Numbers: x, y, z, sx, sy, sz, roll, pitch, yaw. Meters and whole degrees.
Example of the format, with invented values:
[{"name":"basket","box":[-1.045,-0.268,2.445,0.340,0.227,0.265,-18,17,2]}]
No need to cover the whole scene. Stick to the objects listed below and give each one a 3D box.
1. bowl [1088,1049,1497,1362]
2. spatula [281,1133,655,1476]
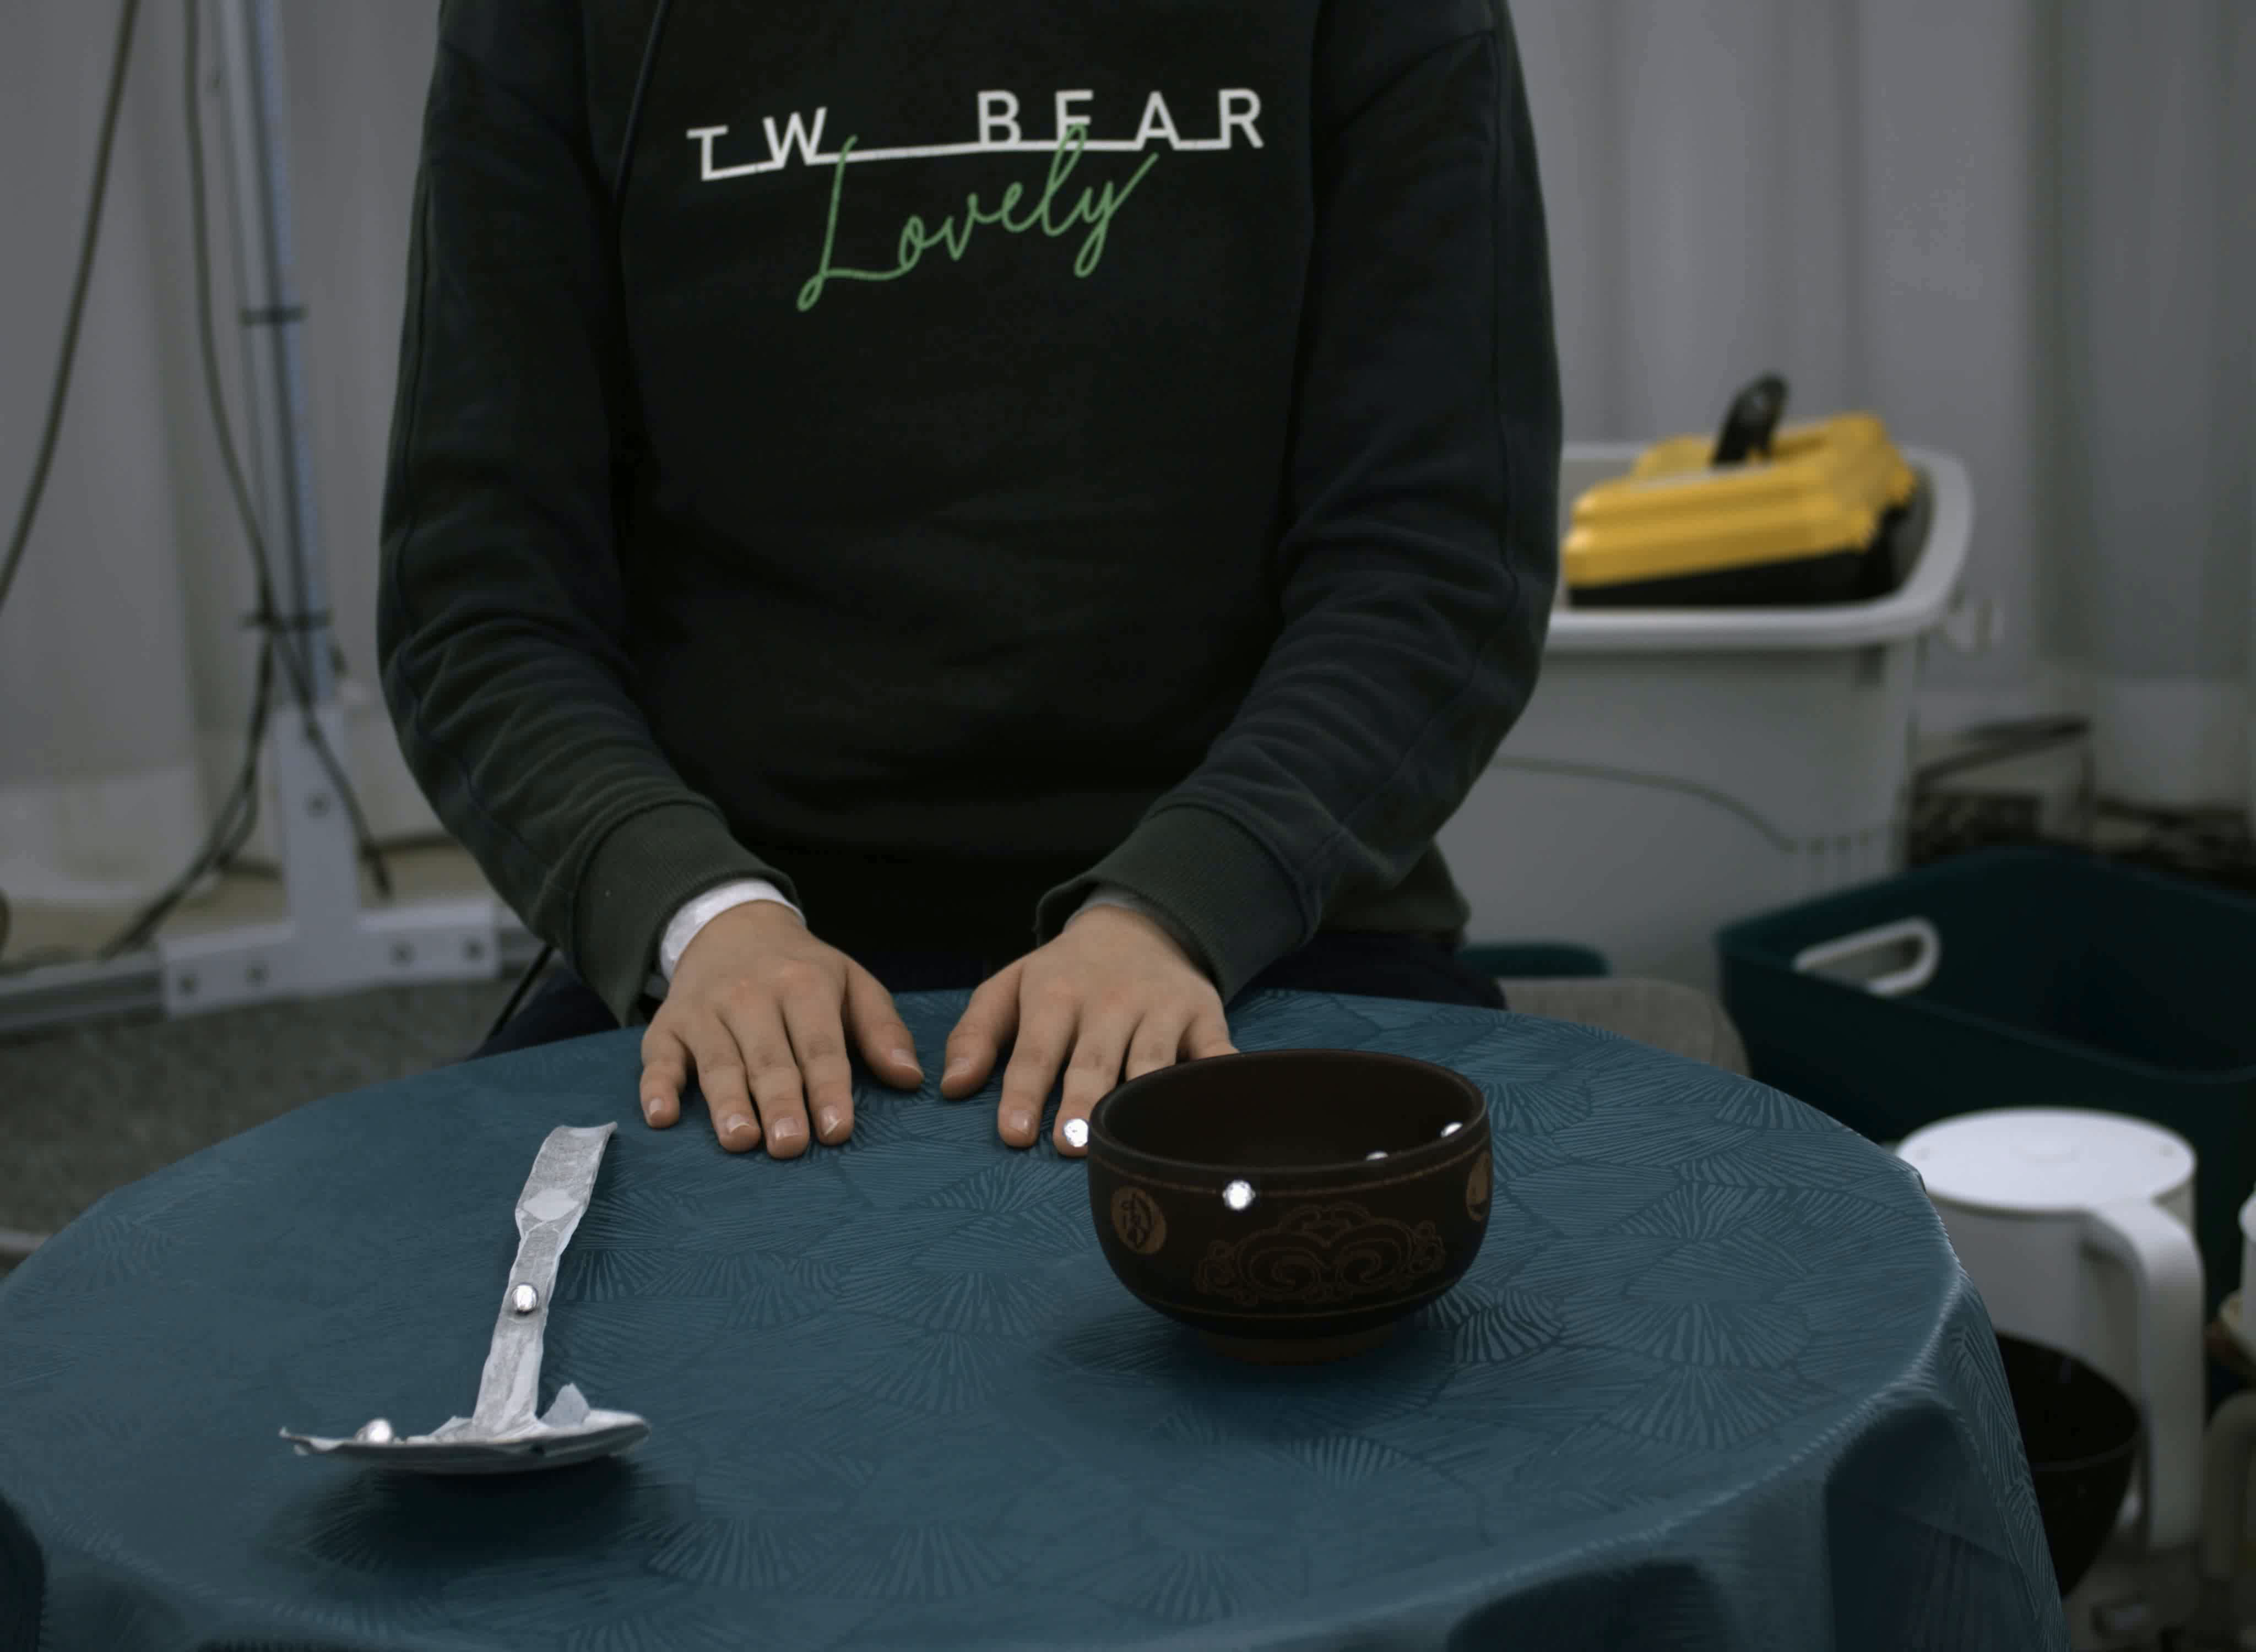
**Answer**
[{"name":"bowl","box":[0.048,0.113,1.575,0.117,0.069,0.119,-1,13,0]},{"name":"spatula","box":[-0.172,0.132,1.608,0.098,0.044,0.367,-4,15,2]}]
